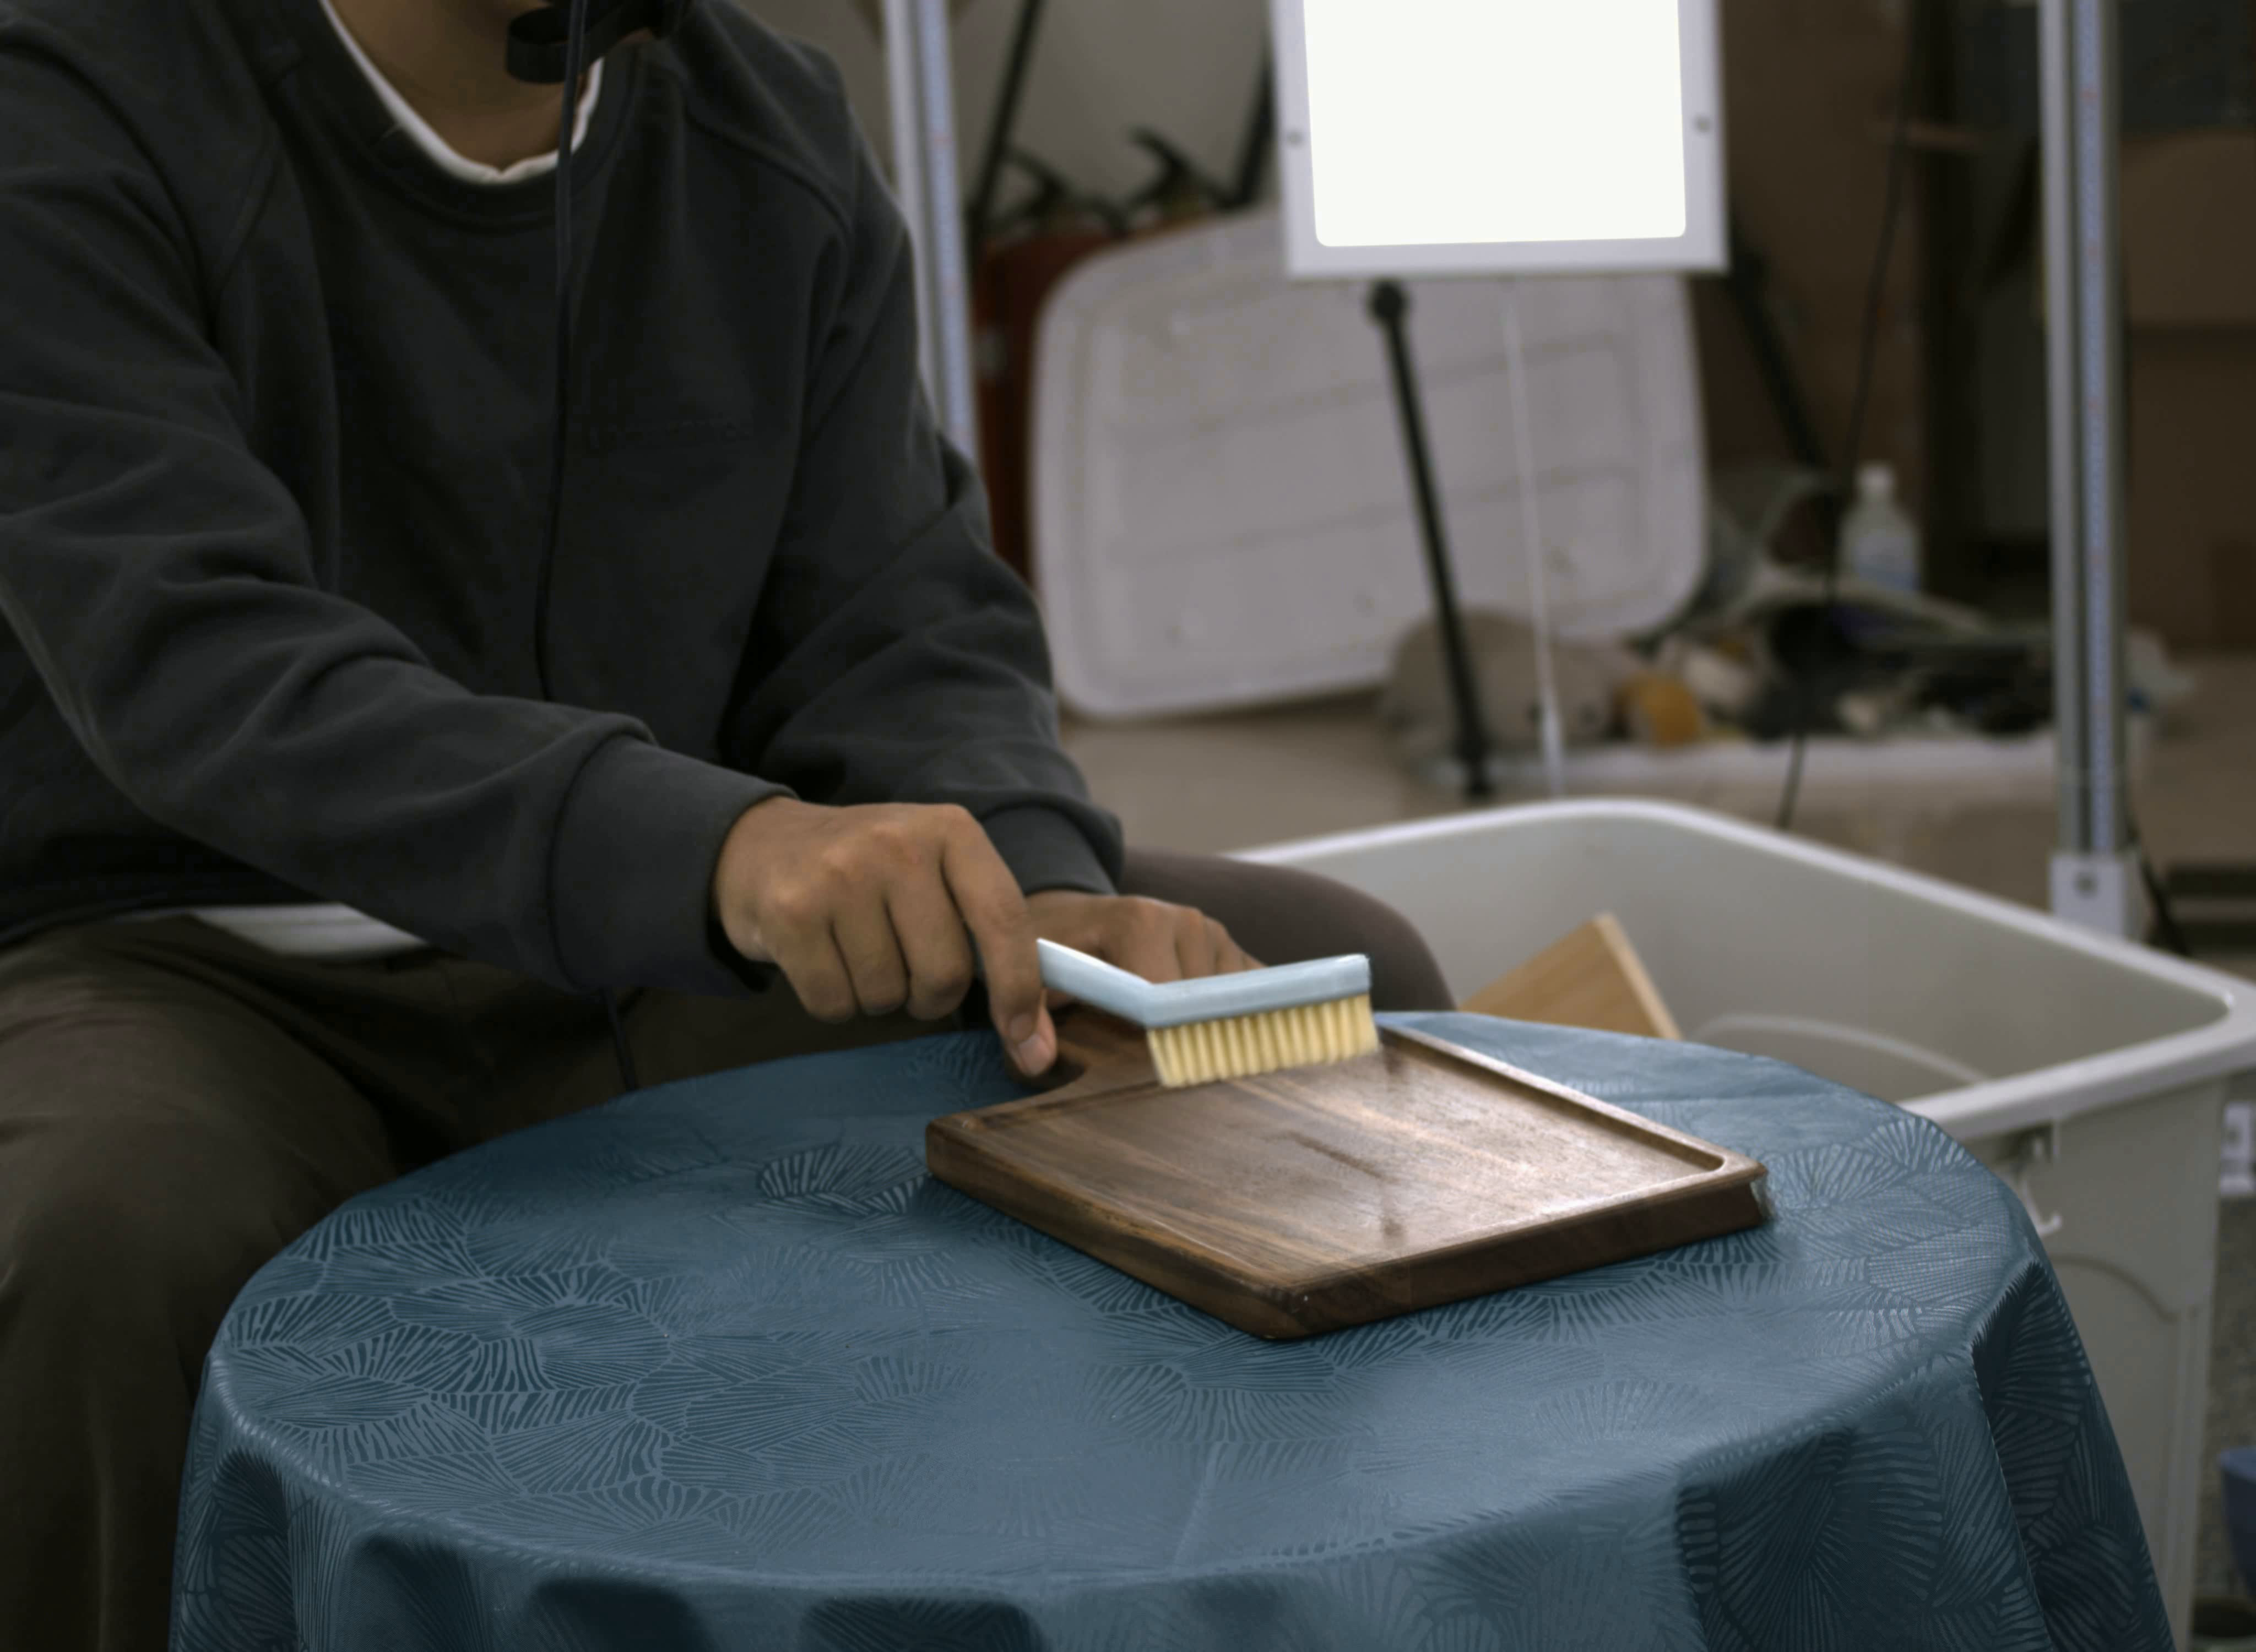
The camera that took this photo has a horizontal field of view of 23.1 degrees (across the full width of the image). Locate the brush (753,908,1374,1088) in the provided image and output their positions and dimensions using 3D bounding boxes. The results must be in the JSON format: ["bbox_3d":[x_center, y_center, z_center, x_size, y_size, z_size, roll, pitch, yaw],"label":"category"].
[{"bbox_3d":[-0.024,0.059,1.876,0.232,0.050,0.037,5,9,25],"label":"brush"}]

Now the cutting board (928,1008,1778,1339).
[{"bbox_3d":[0.049,0.108,1.916,0.197,0.023,0.358,-11,15,-26],"label":"cutting board"}]
